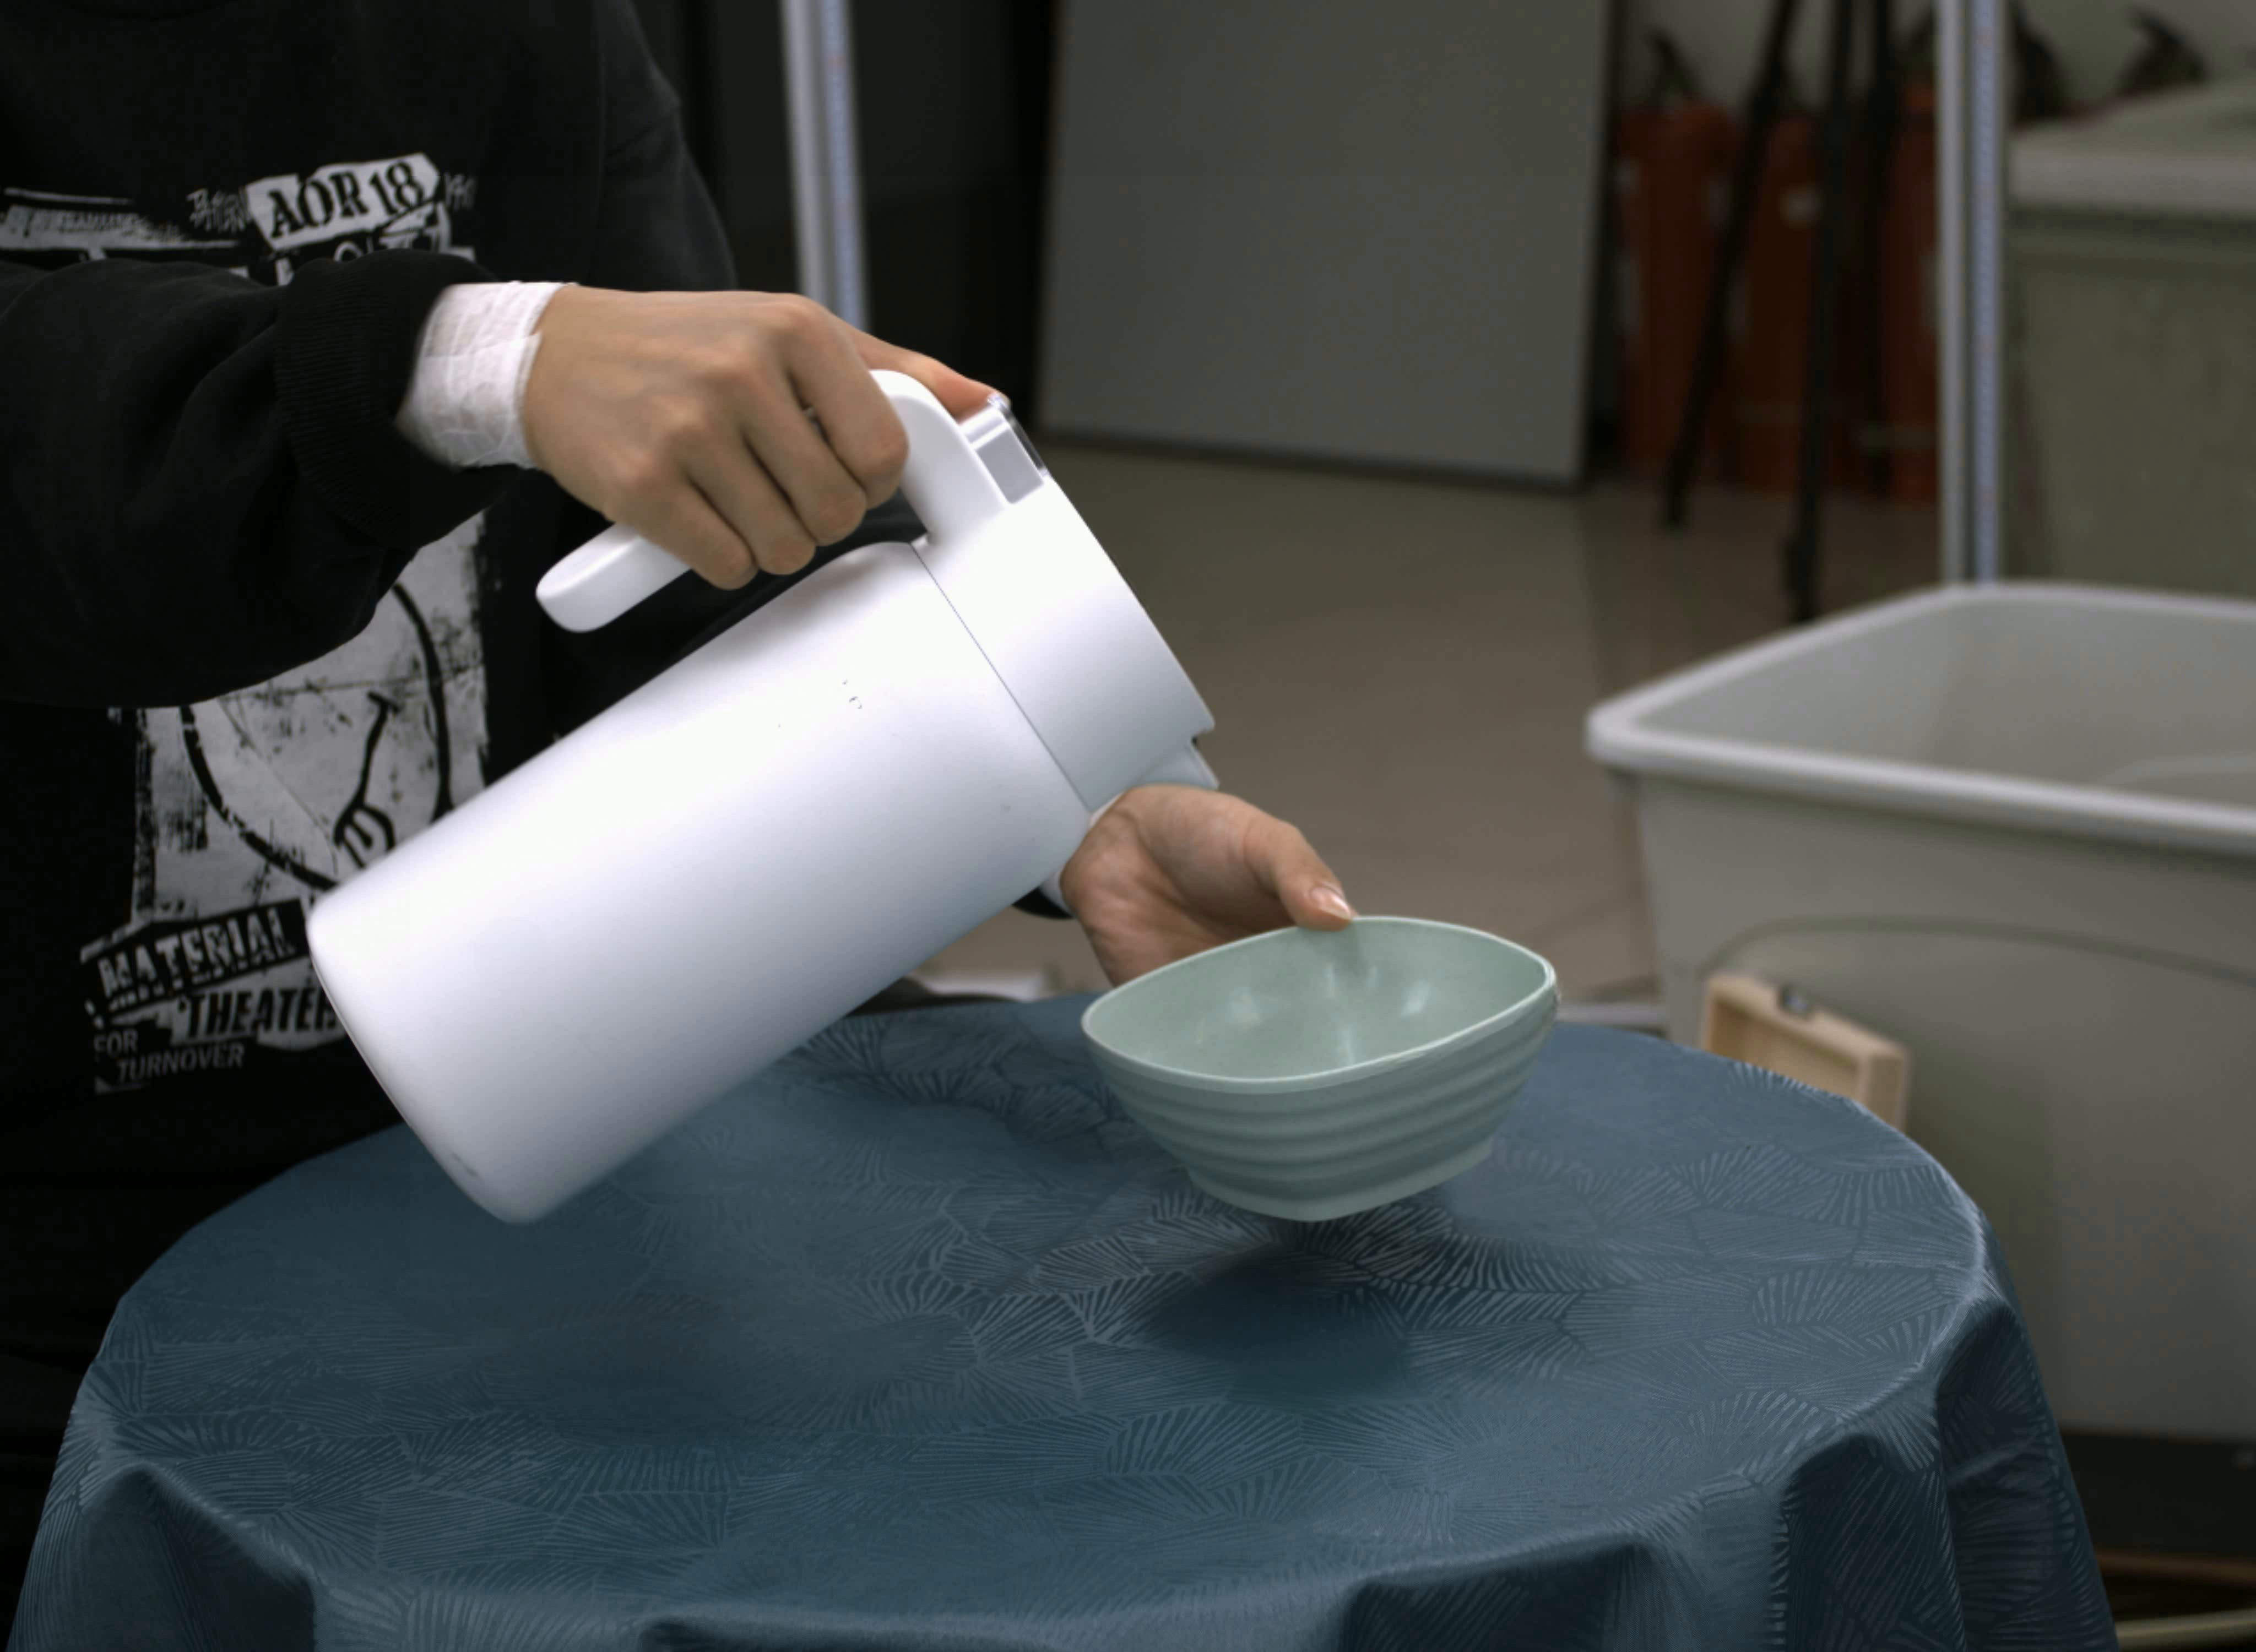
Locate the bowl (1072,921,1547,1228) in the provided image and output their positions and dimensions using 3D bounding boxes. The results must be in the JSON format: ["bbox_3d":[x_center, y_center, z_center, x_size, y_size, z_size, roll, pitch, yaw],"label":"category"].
[{"bbox_3d":[0.060,0.081,1.681,0.149,0.059,0.152,-9,16,2],"label":"bowl"}]

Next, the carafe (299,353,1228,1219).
[{"bbox_3d":[-0.119,-0.013,1.617,0.267,0.172,0.124,-32,20,2],"label":"carafe"}]
